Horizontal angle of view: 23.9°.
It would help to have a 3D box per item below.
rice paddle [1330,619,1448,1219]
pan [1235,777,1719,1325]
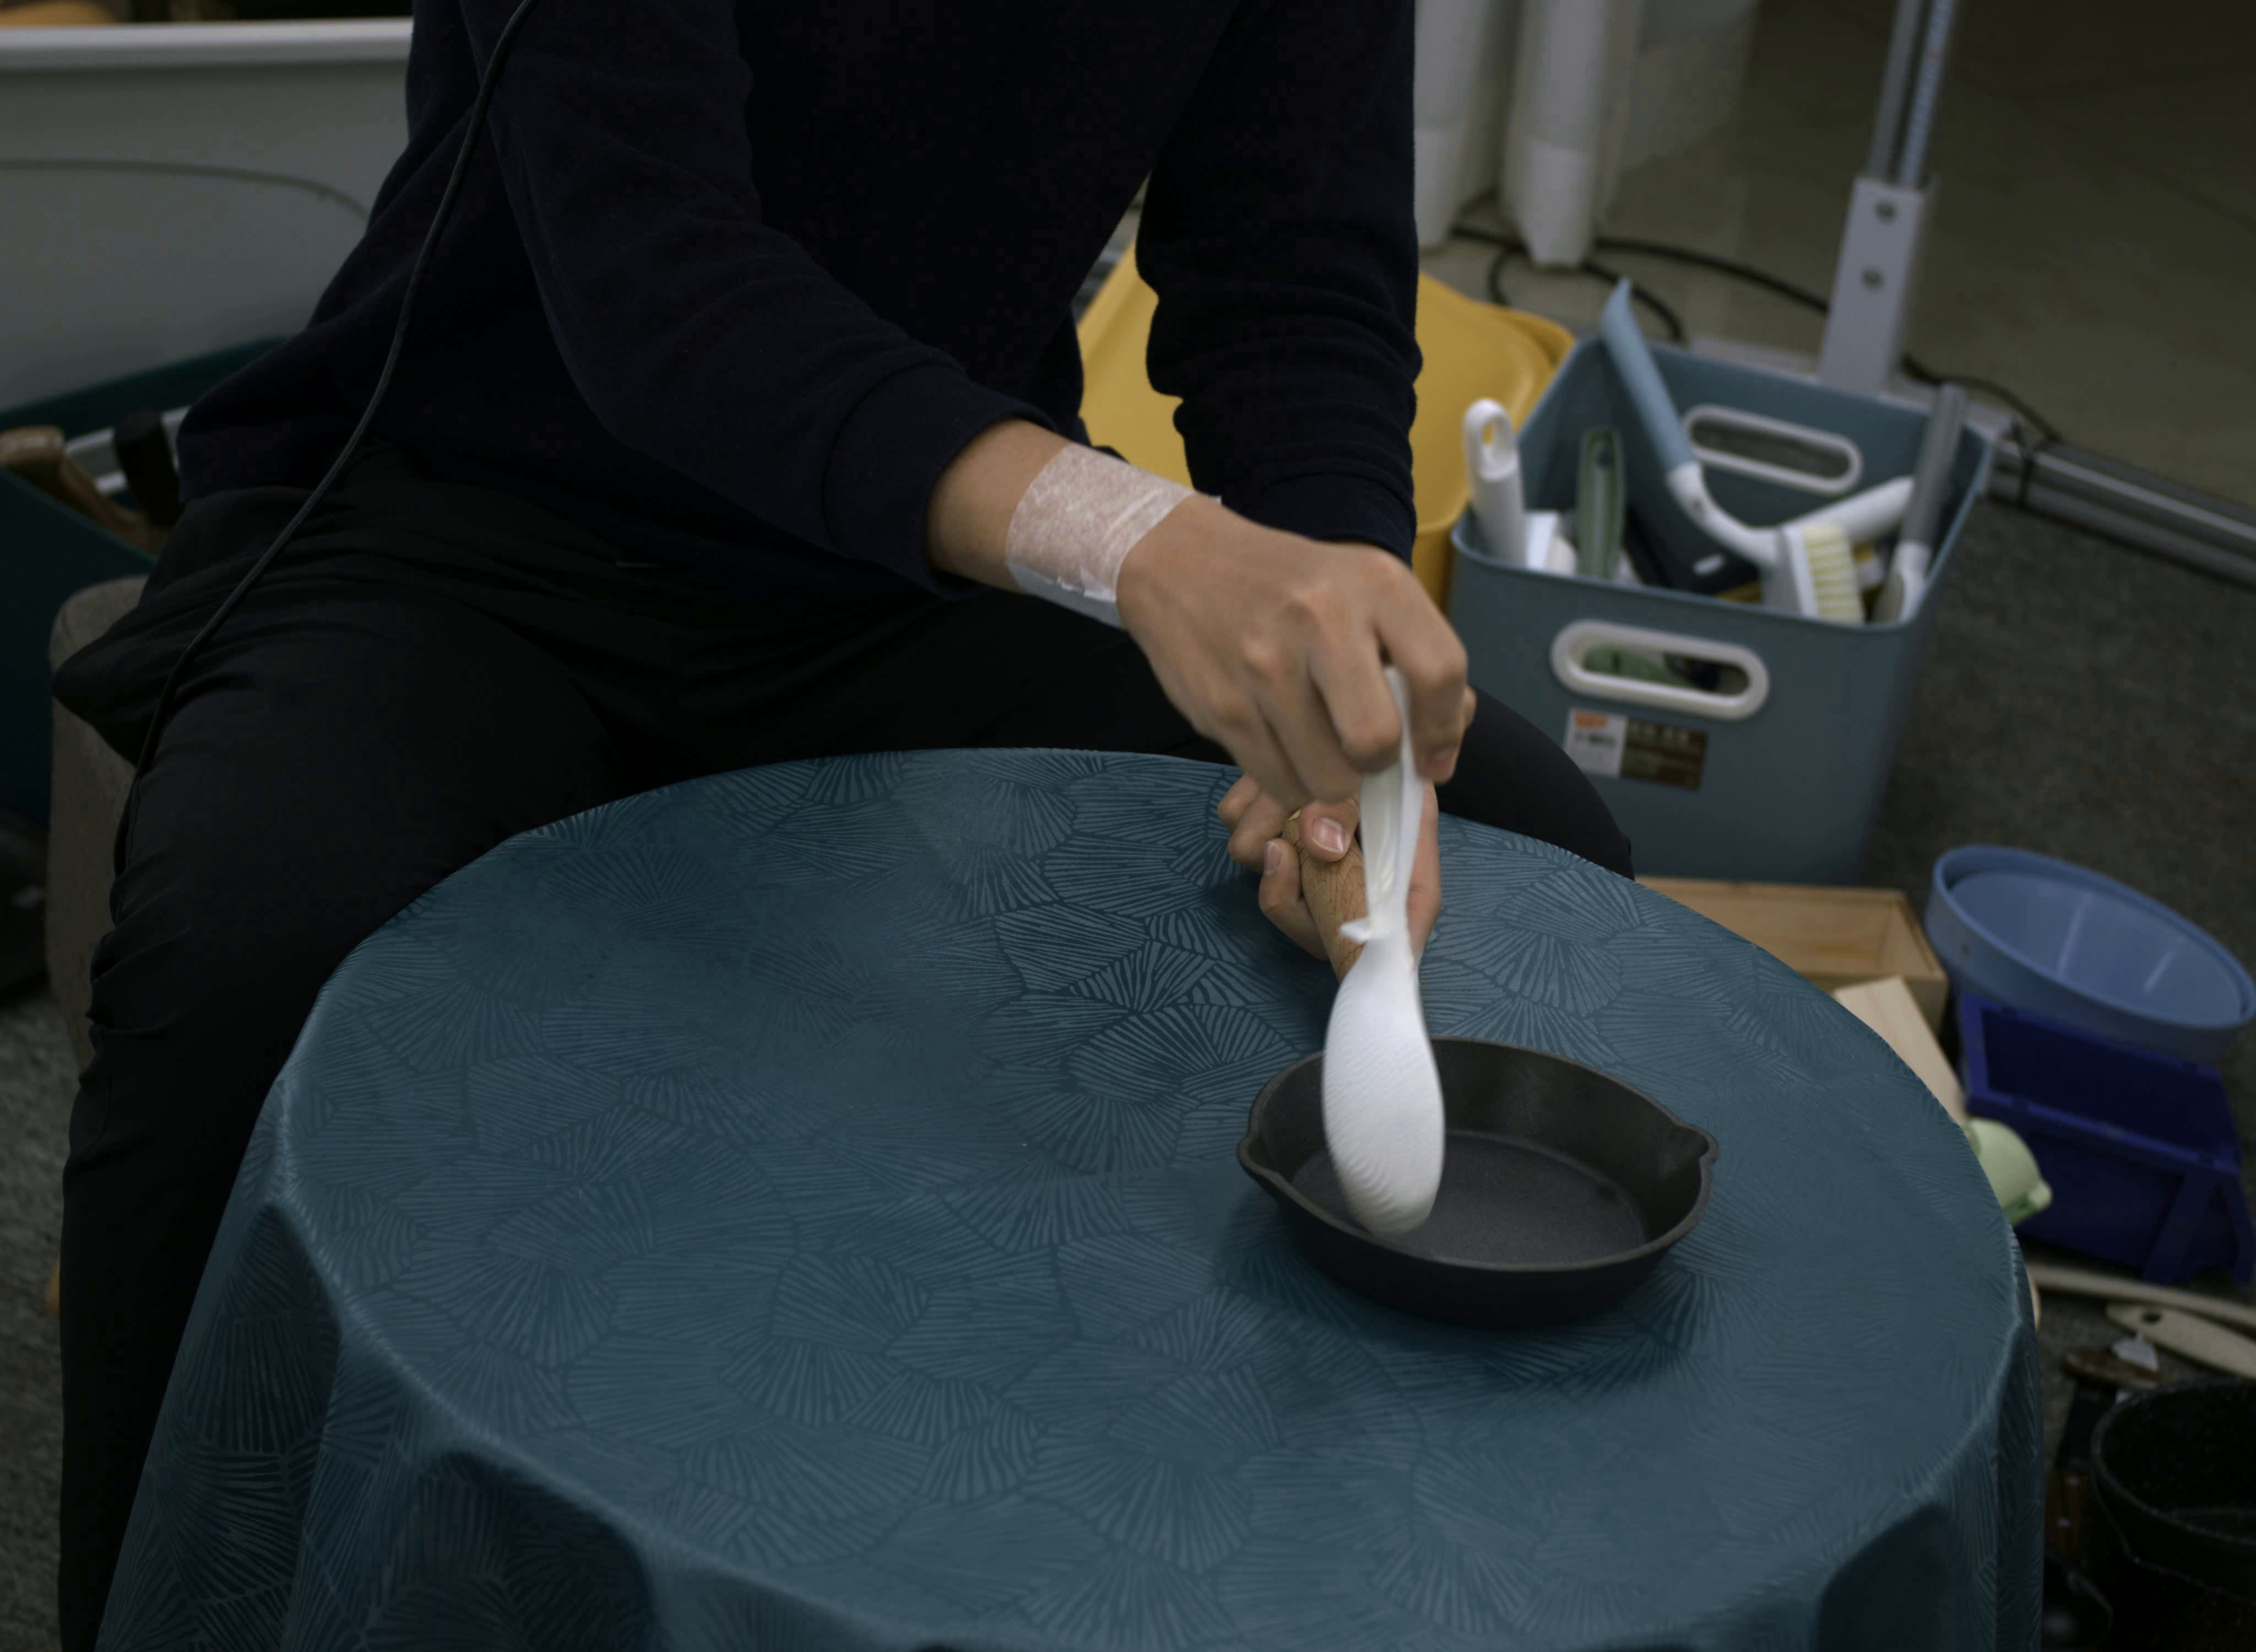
[{"bbox_3d":[0.085,0.033,1.751,0.029,0.205,0.069,-13,21,-28],"label":"rice paddle"},{"bbox_3d":[0.100,0.076,1.864,0.168,0.049,0.327,0,28,-13],"label":"pan"}]
